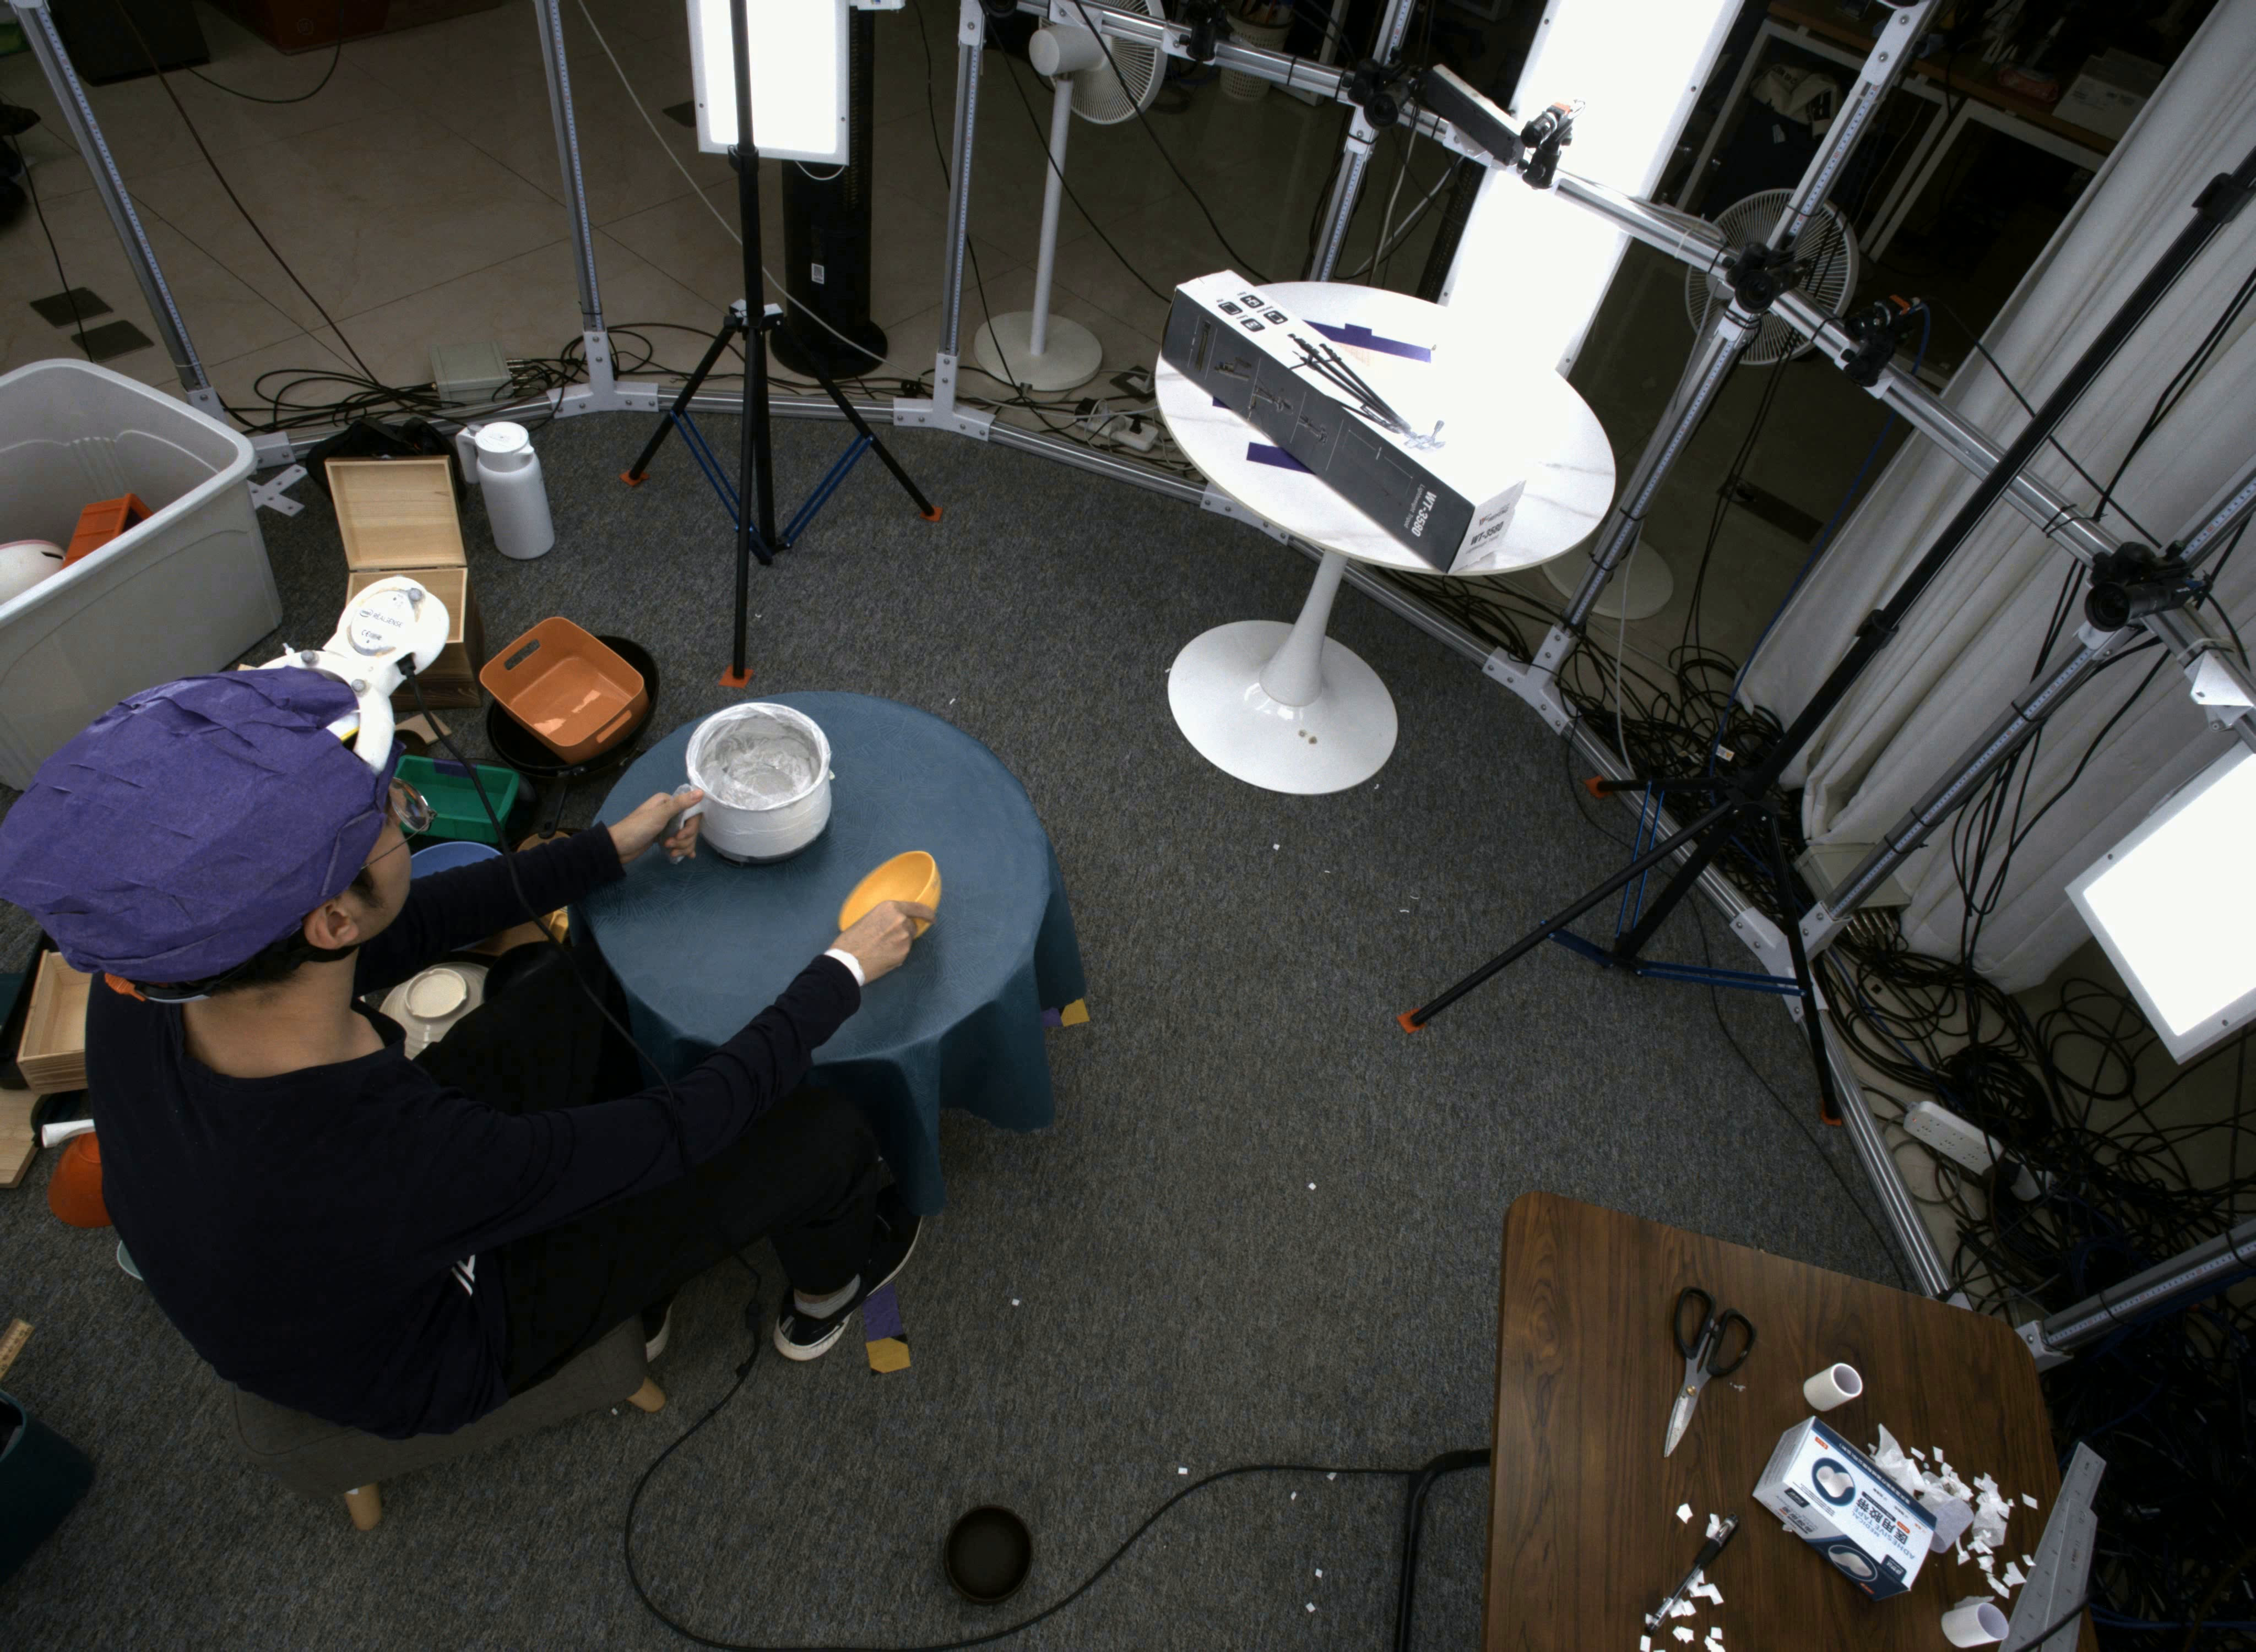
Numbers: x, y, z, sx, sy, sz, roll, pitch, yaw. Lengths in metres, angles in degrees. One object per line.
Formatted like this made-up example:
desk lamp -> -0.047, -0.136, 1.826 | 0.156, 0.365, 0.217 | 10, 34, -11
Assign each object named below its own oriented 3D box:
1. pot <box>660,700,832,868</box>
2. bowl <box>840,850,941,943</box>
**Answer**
pot -> -0.494, -0.041, 1.658 | 0.234, 0.140, 0.174 | -33, 63, -32
bowl -> -0.286, 0.099, 1.630 | 0.143, 0.062, 0.142 | -26, 28, 17
